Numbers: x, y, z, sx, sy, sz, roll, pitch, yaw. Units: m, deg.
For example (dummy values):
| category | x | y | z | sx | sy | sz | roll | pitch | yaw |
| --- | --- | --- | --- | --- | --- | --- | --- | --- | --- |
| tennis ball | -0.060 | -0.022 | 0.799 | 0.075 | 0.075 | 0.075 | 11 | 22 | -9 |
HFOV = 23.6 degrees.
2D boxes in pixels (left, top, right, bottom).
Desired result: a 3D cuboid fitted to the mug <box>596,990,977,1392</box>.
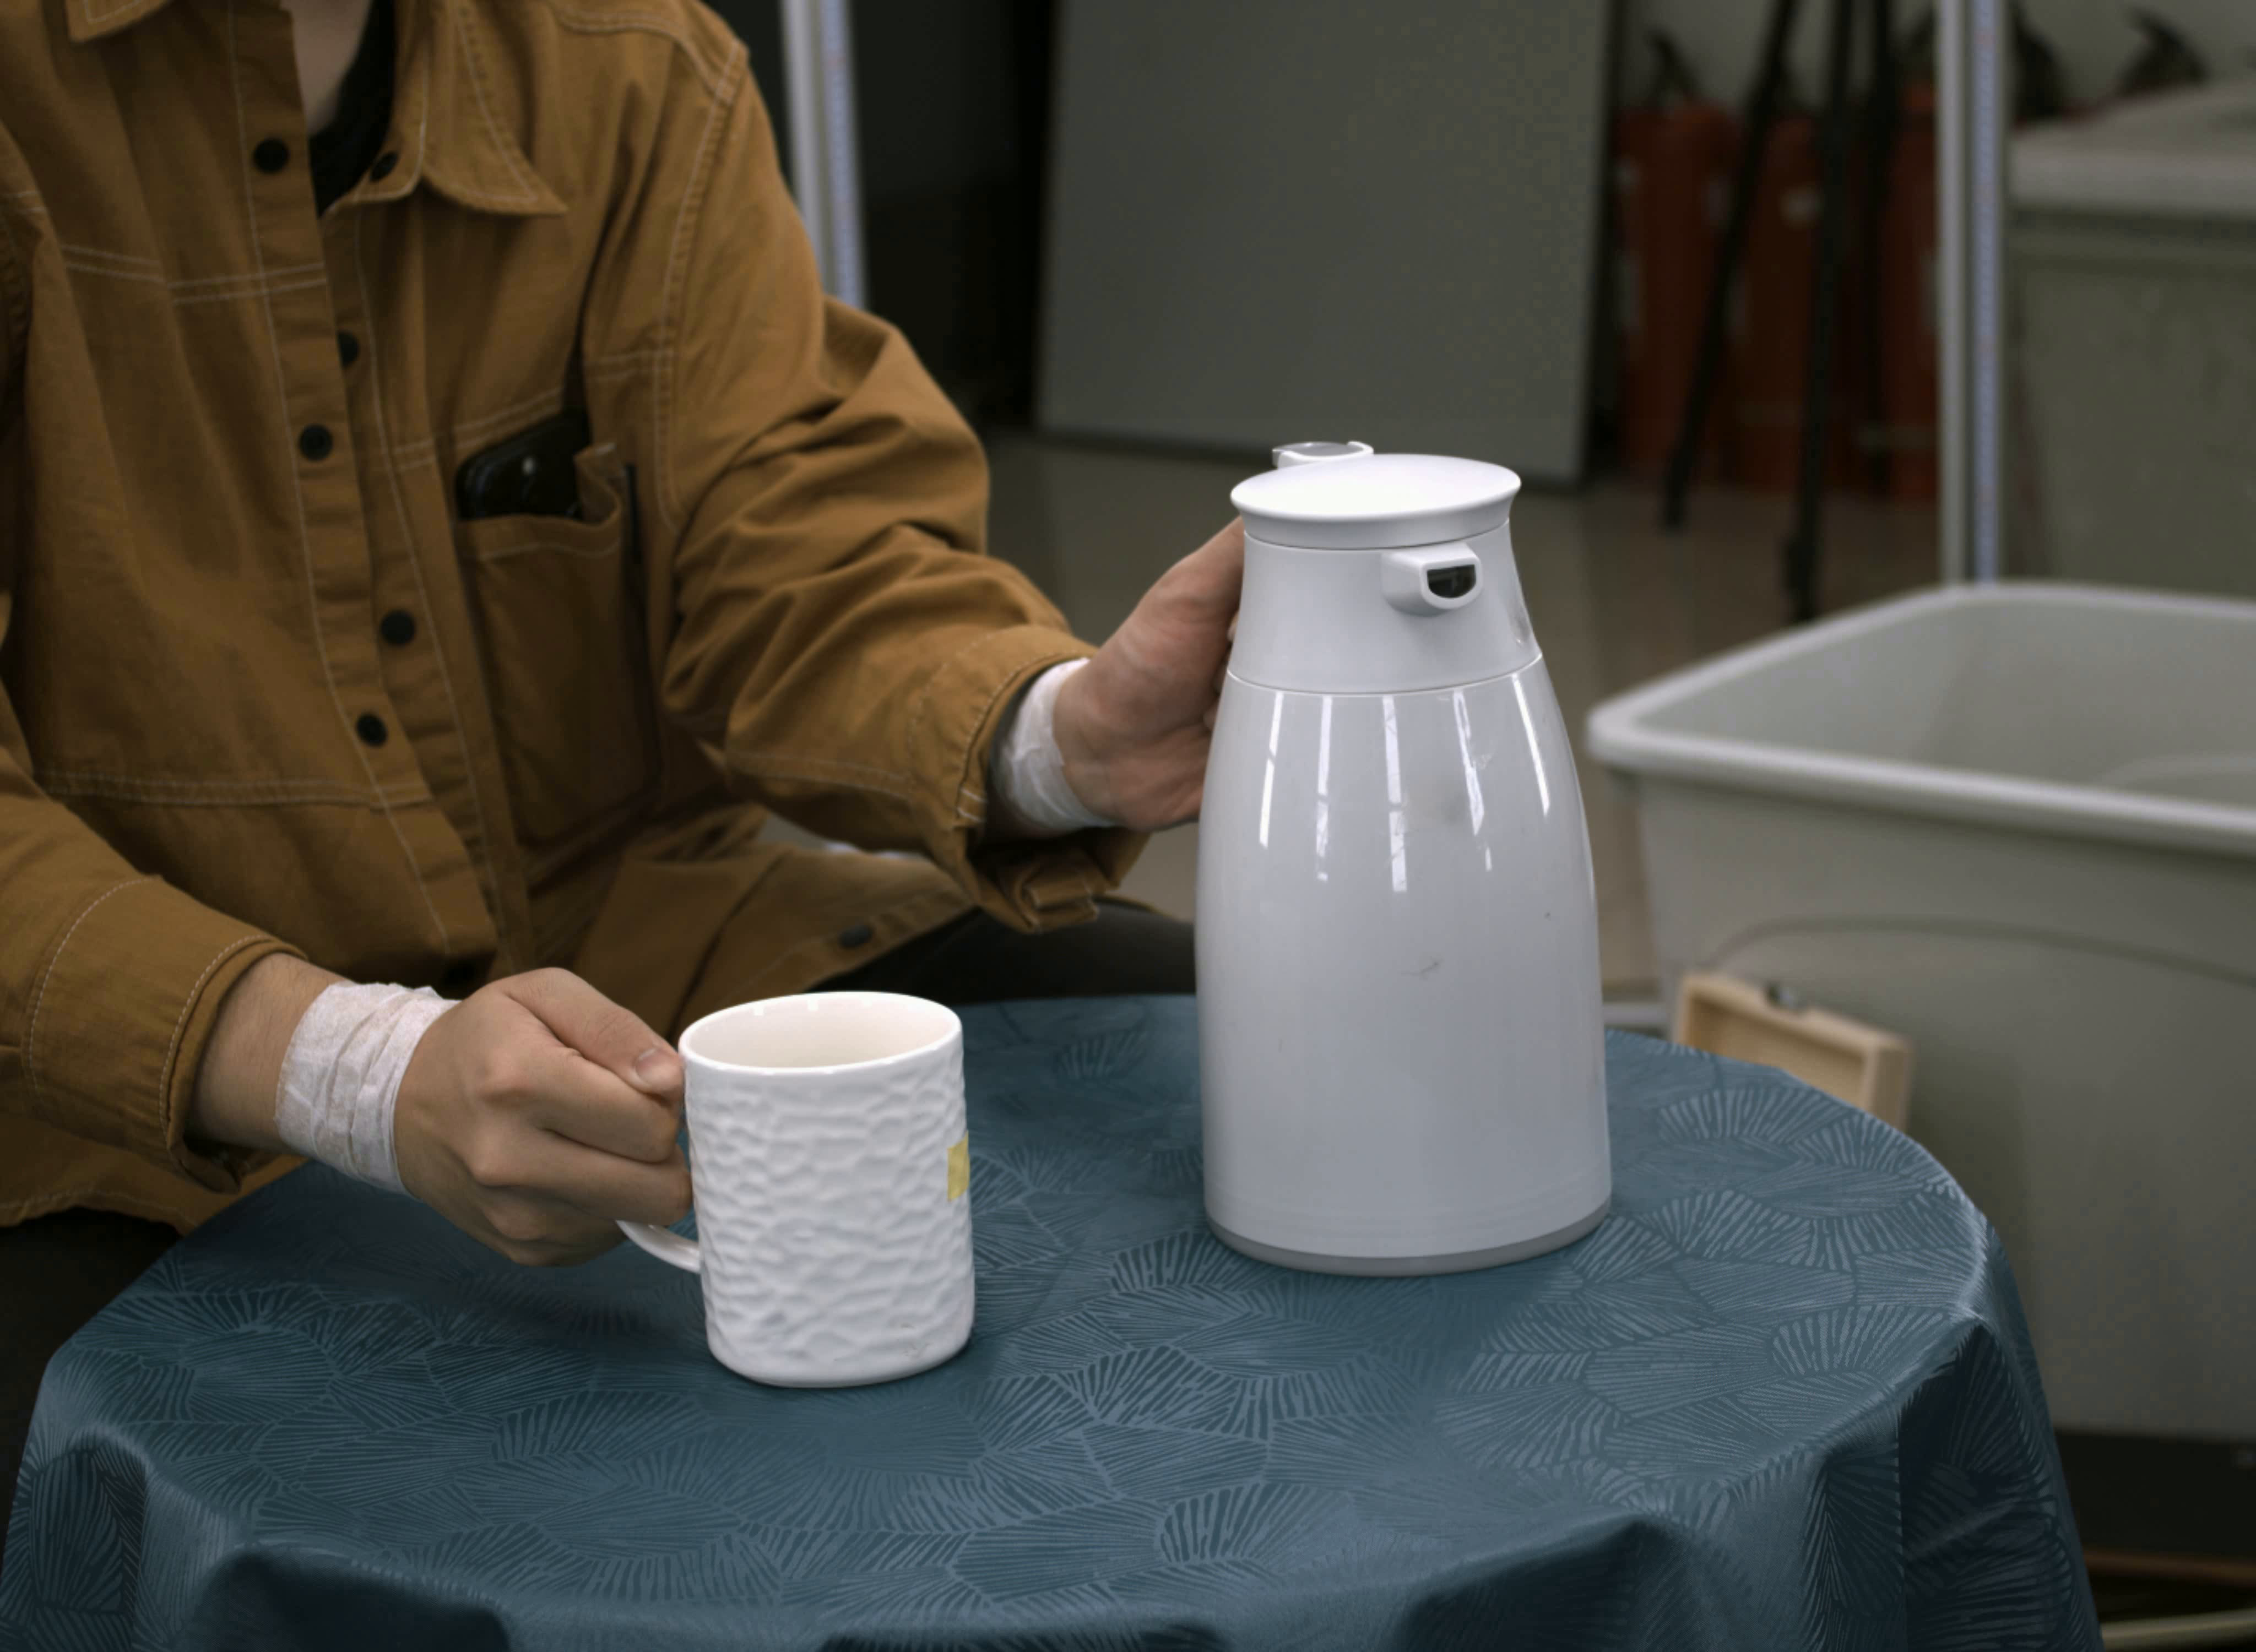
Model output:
| category | x | y | z | sx | sy | sz | roll | pitch | yaw |
| --- | --- | --- | --- | --- | --- | --- | --- | --- | --- |
| mug | -0.105 | 0.110 | 1.639 | 0.118 | 0.103 | 0.084 | 0 | 13 | 20 |

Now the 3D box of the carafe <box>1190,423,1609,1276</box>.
| category | x | y | z | sx | sy | sz | roll | pitch | yaw |
| --- | --- | --- | --- | --- | --- | --- | --- | --- | --- |
| carafe | 0.074 | -0.001 | 1.723 | 0.130 | 0.251 | 0.169 | -9 | 14 | -18 |
